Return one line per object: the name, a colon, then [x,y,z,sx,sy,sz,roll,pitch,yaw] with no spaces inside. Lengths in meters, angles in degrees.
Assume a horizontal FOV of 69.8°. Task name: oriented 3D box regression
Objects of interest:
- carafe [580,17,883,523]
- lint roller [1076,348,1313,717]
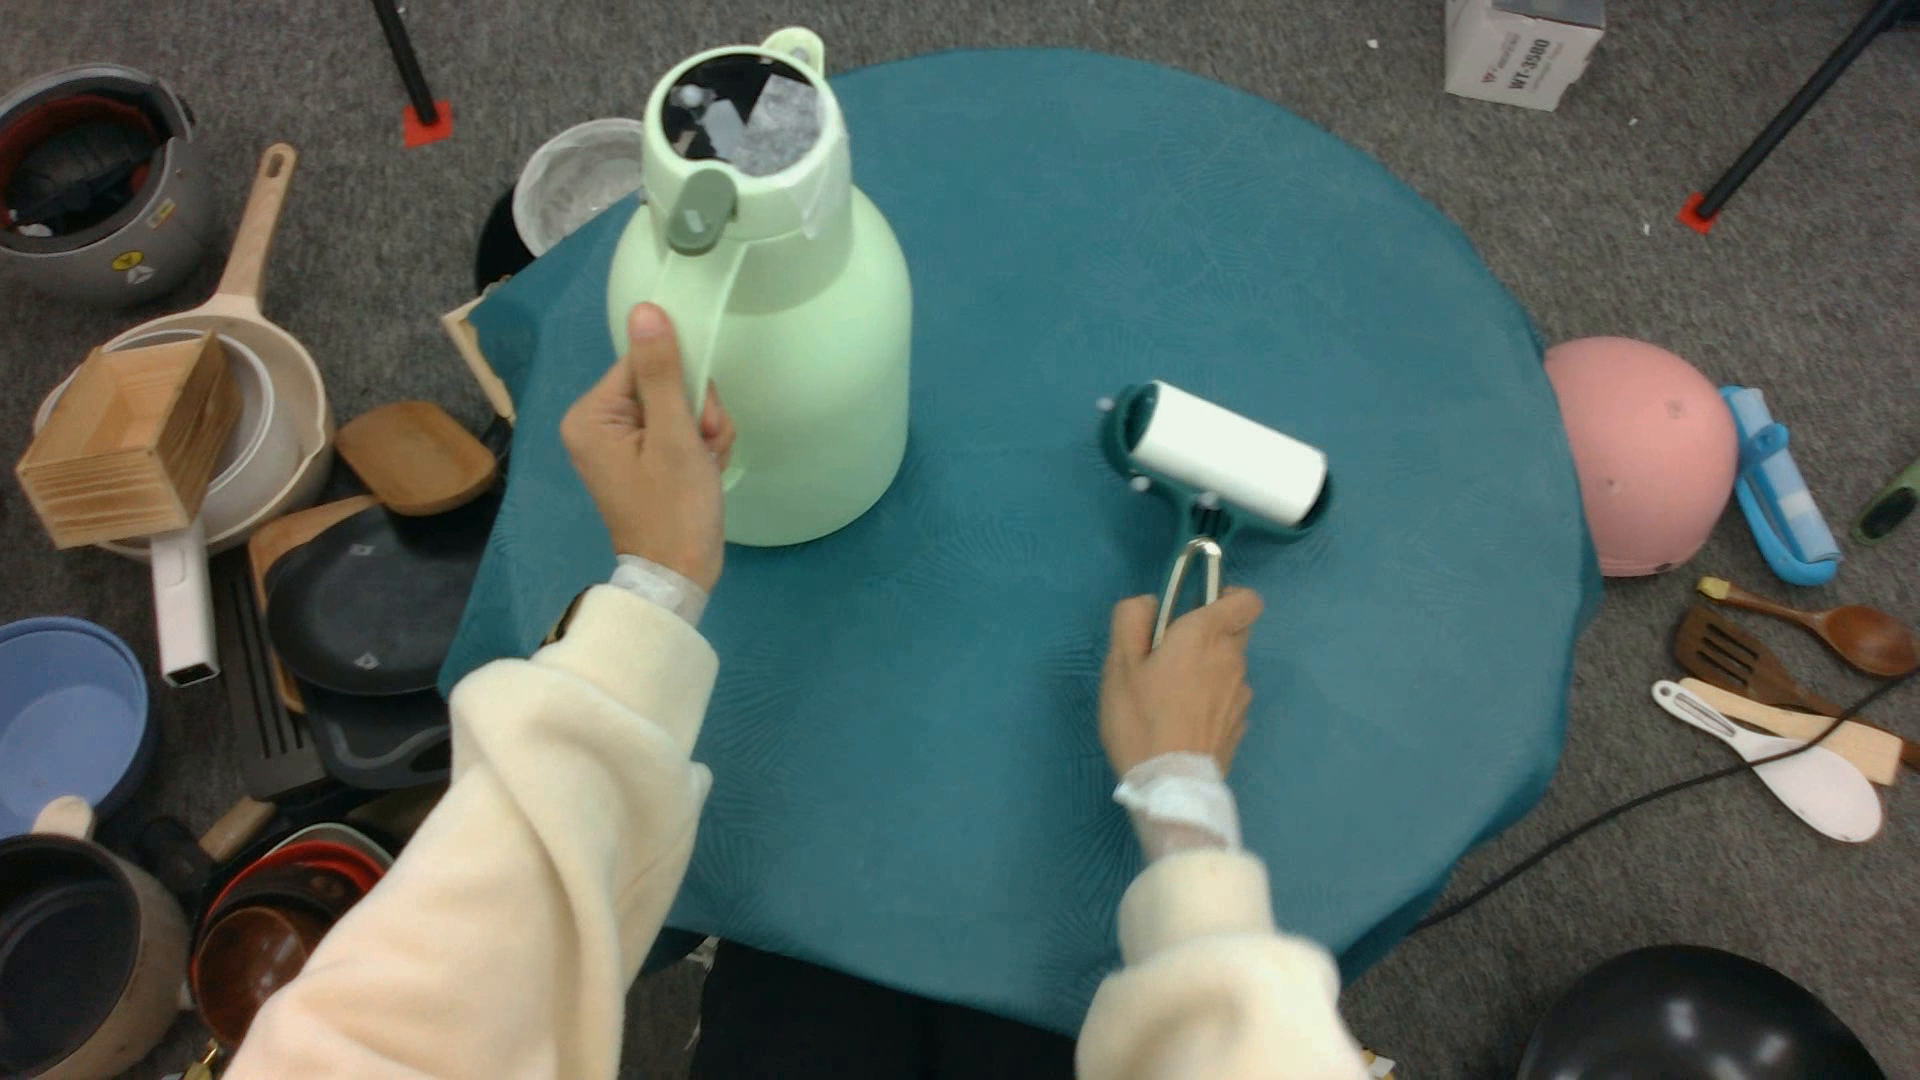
carafe: [-0.110,-0.106,0.644,0.144,0.256,0.187,16,68,1]
lint roller: [0.112,0.000,0.690,0.134,0.048,0.181,22,56,-14]
